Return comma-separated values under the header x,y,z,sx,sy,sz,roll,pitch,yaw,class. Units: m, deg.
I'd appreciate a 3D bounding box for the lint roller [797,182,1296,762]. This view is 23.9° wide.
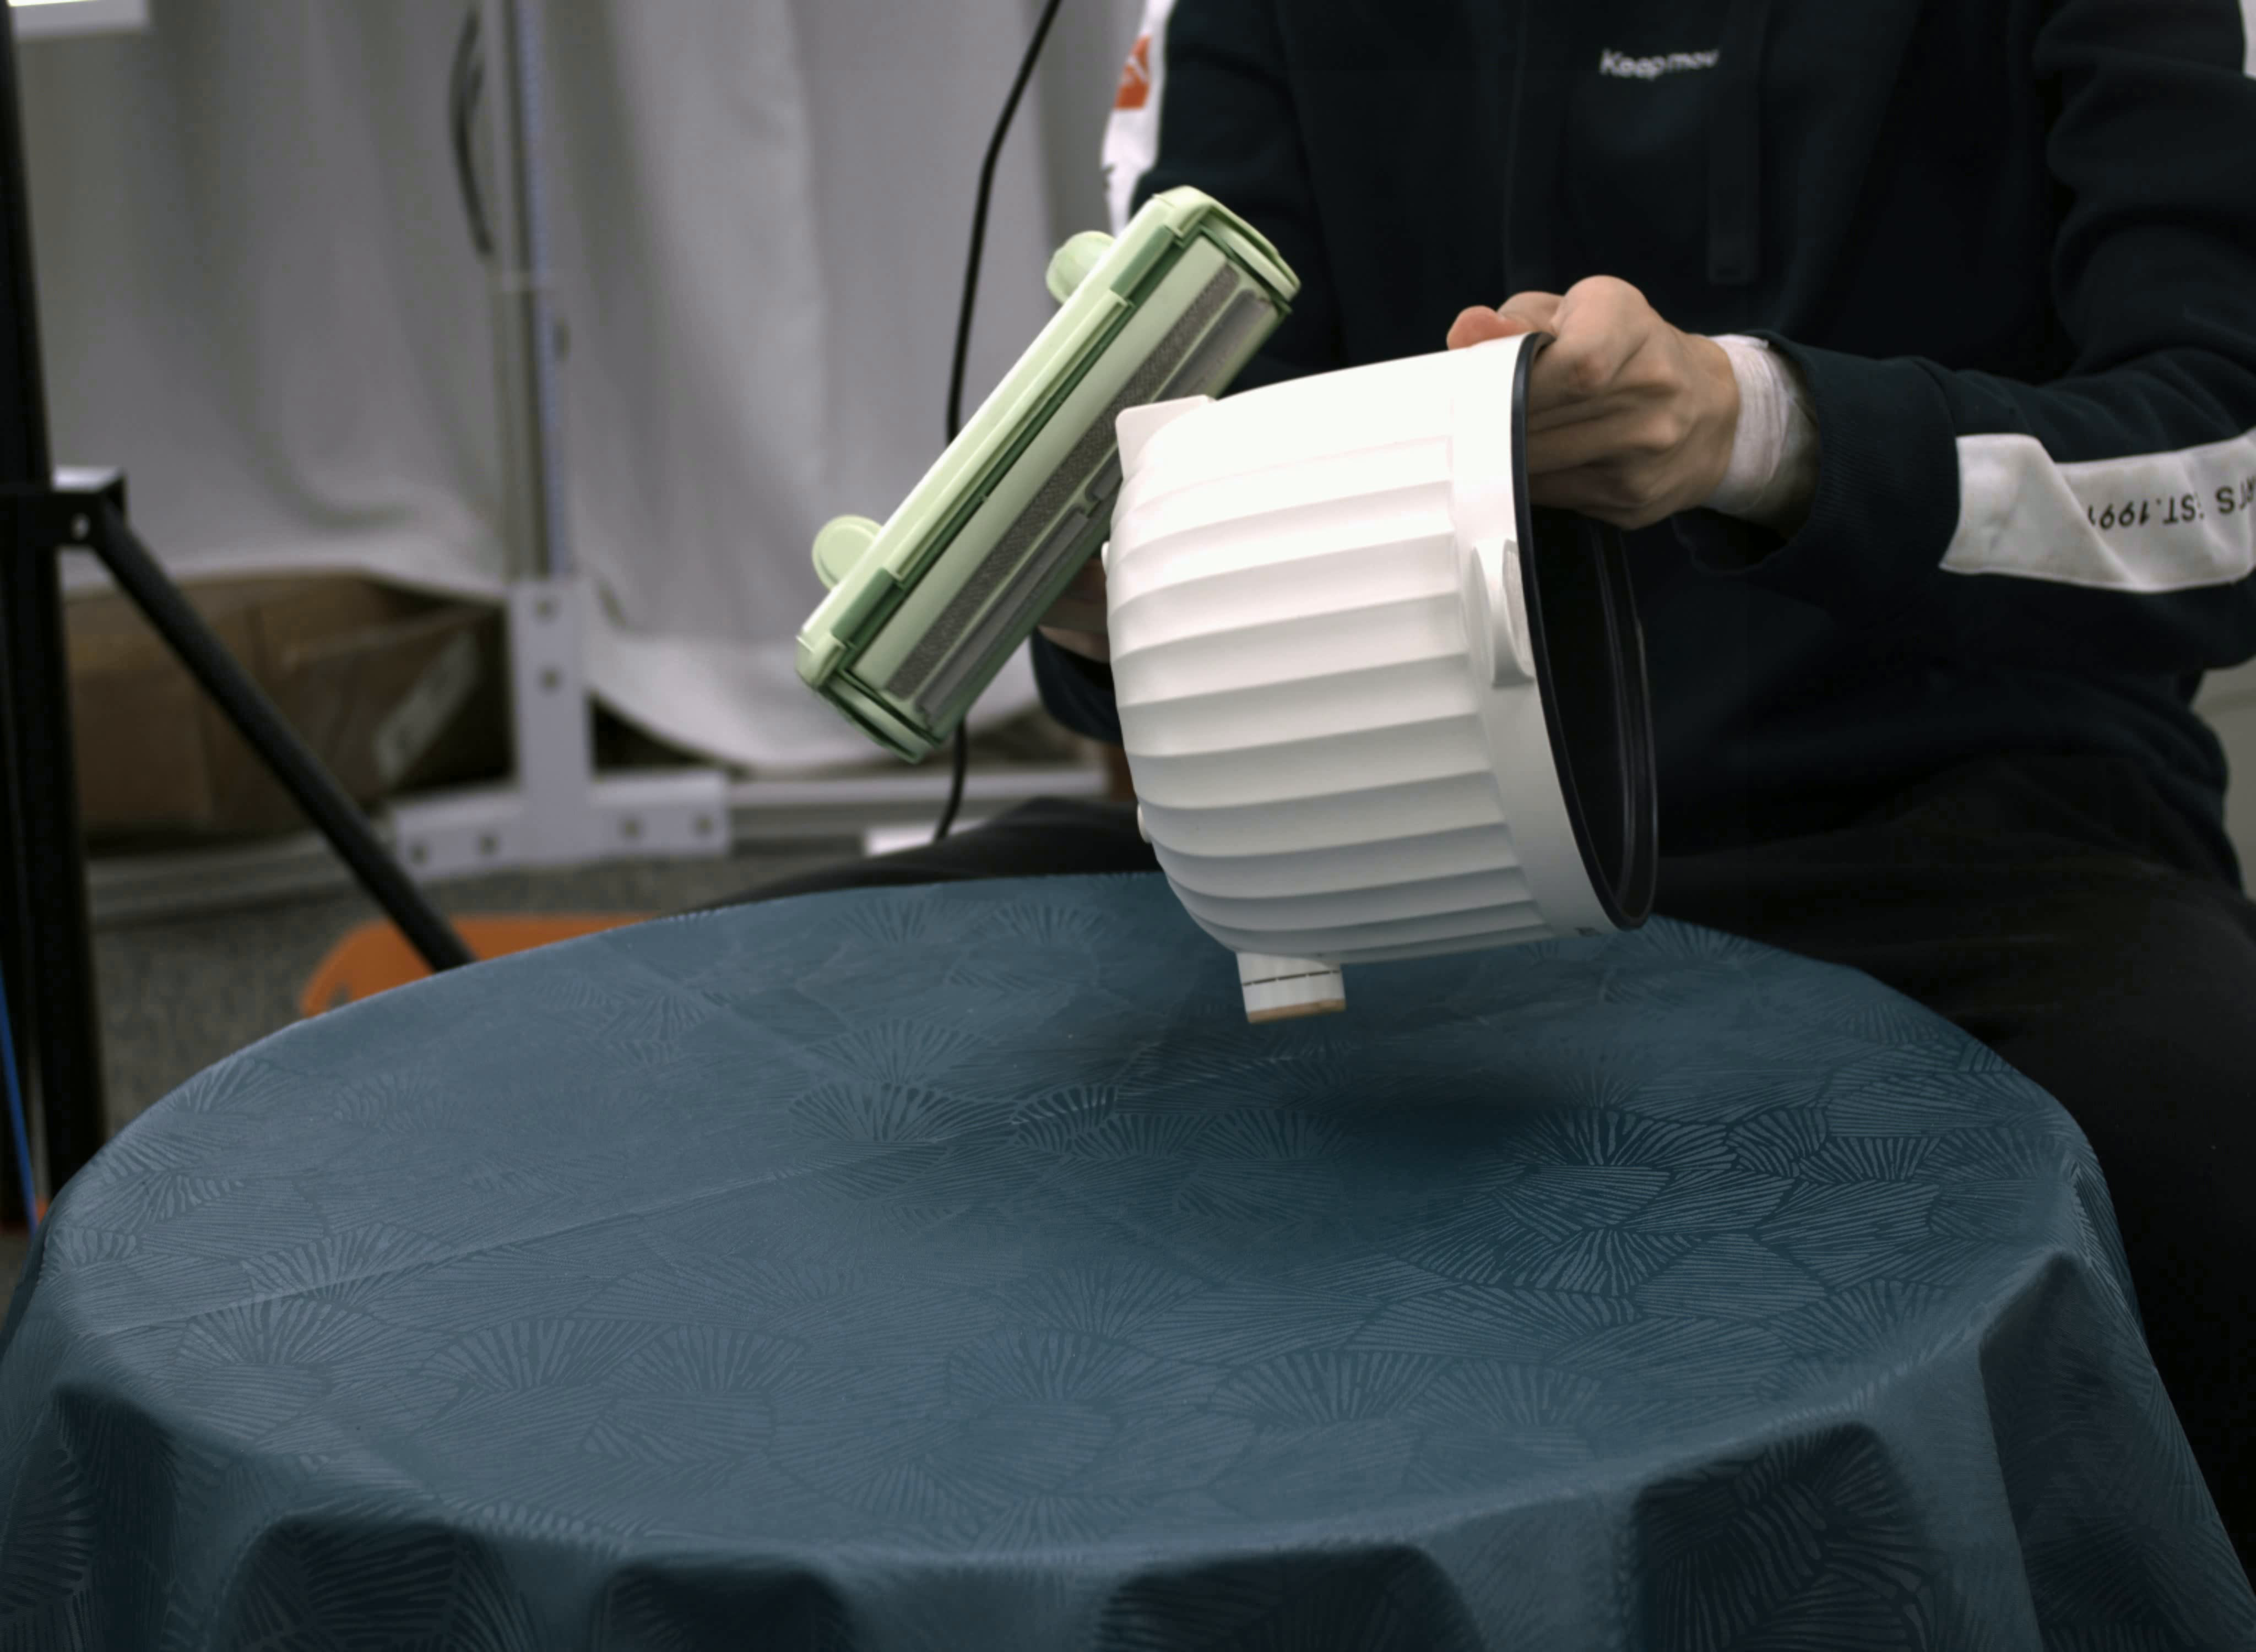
x,y,z,sx,sy,sz,roll,pitch,yaw,class
-0.025,-0.109,1.713,0.083,0.199,0.182,39,1,9,lint roller

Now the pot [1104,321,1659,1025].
x,y,z,sx,sy,sz,roll,pitch,yaw,class
0.076,-0.043,1.595,0.143,0.192,0.237,-12,-5,16,pot
